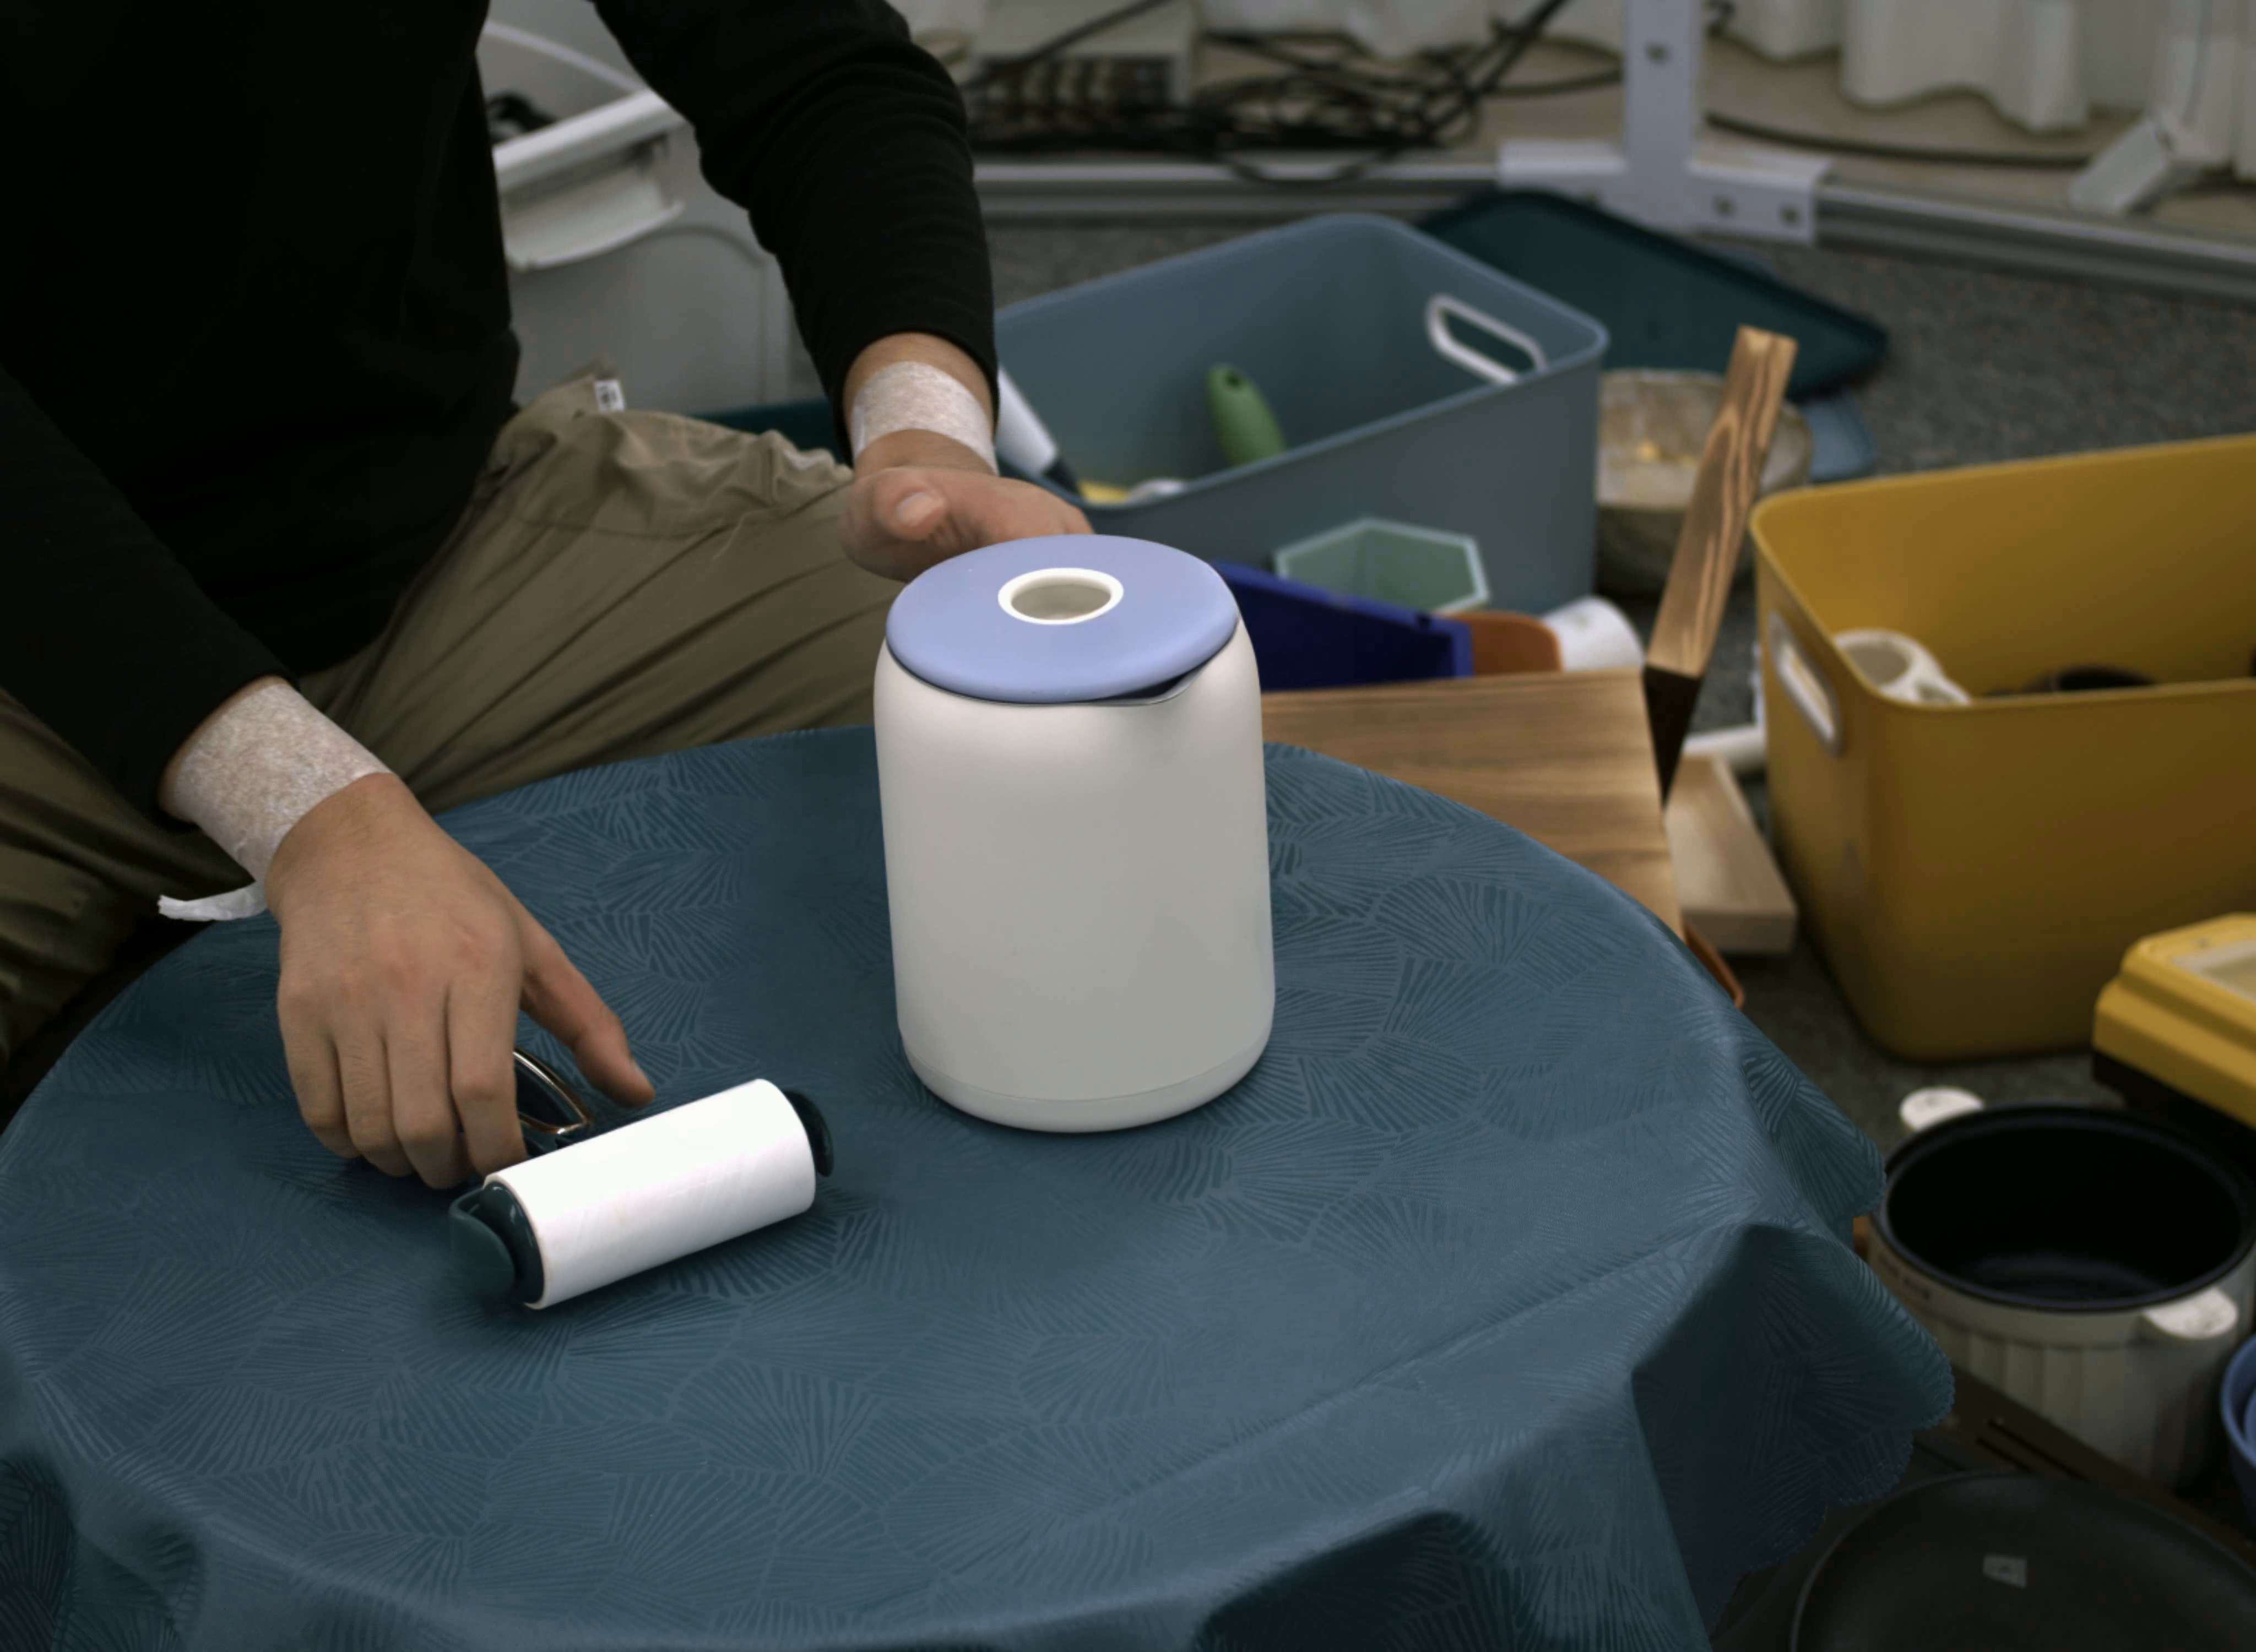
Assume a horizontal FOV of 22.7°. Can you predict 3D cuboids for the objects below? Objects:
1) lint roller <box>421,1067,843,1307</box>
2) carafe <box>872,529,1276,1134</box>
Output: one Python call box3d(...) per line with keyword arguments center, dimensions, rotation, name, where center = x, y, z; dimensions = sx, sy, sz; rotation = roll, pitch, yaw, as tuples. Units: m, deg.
box3d(center=(-0.192, 0.098, 1.882), dimensions=(0.135, 0.048, 0.180), rotation=(-18, 28, -27), name="lint roller")
box3d(center=(-0.031, -0.007, 1.929), dimensions=(0.133, 0.181, 0.191), rotation=(-17, 28, -27), name="carafe")
